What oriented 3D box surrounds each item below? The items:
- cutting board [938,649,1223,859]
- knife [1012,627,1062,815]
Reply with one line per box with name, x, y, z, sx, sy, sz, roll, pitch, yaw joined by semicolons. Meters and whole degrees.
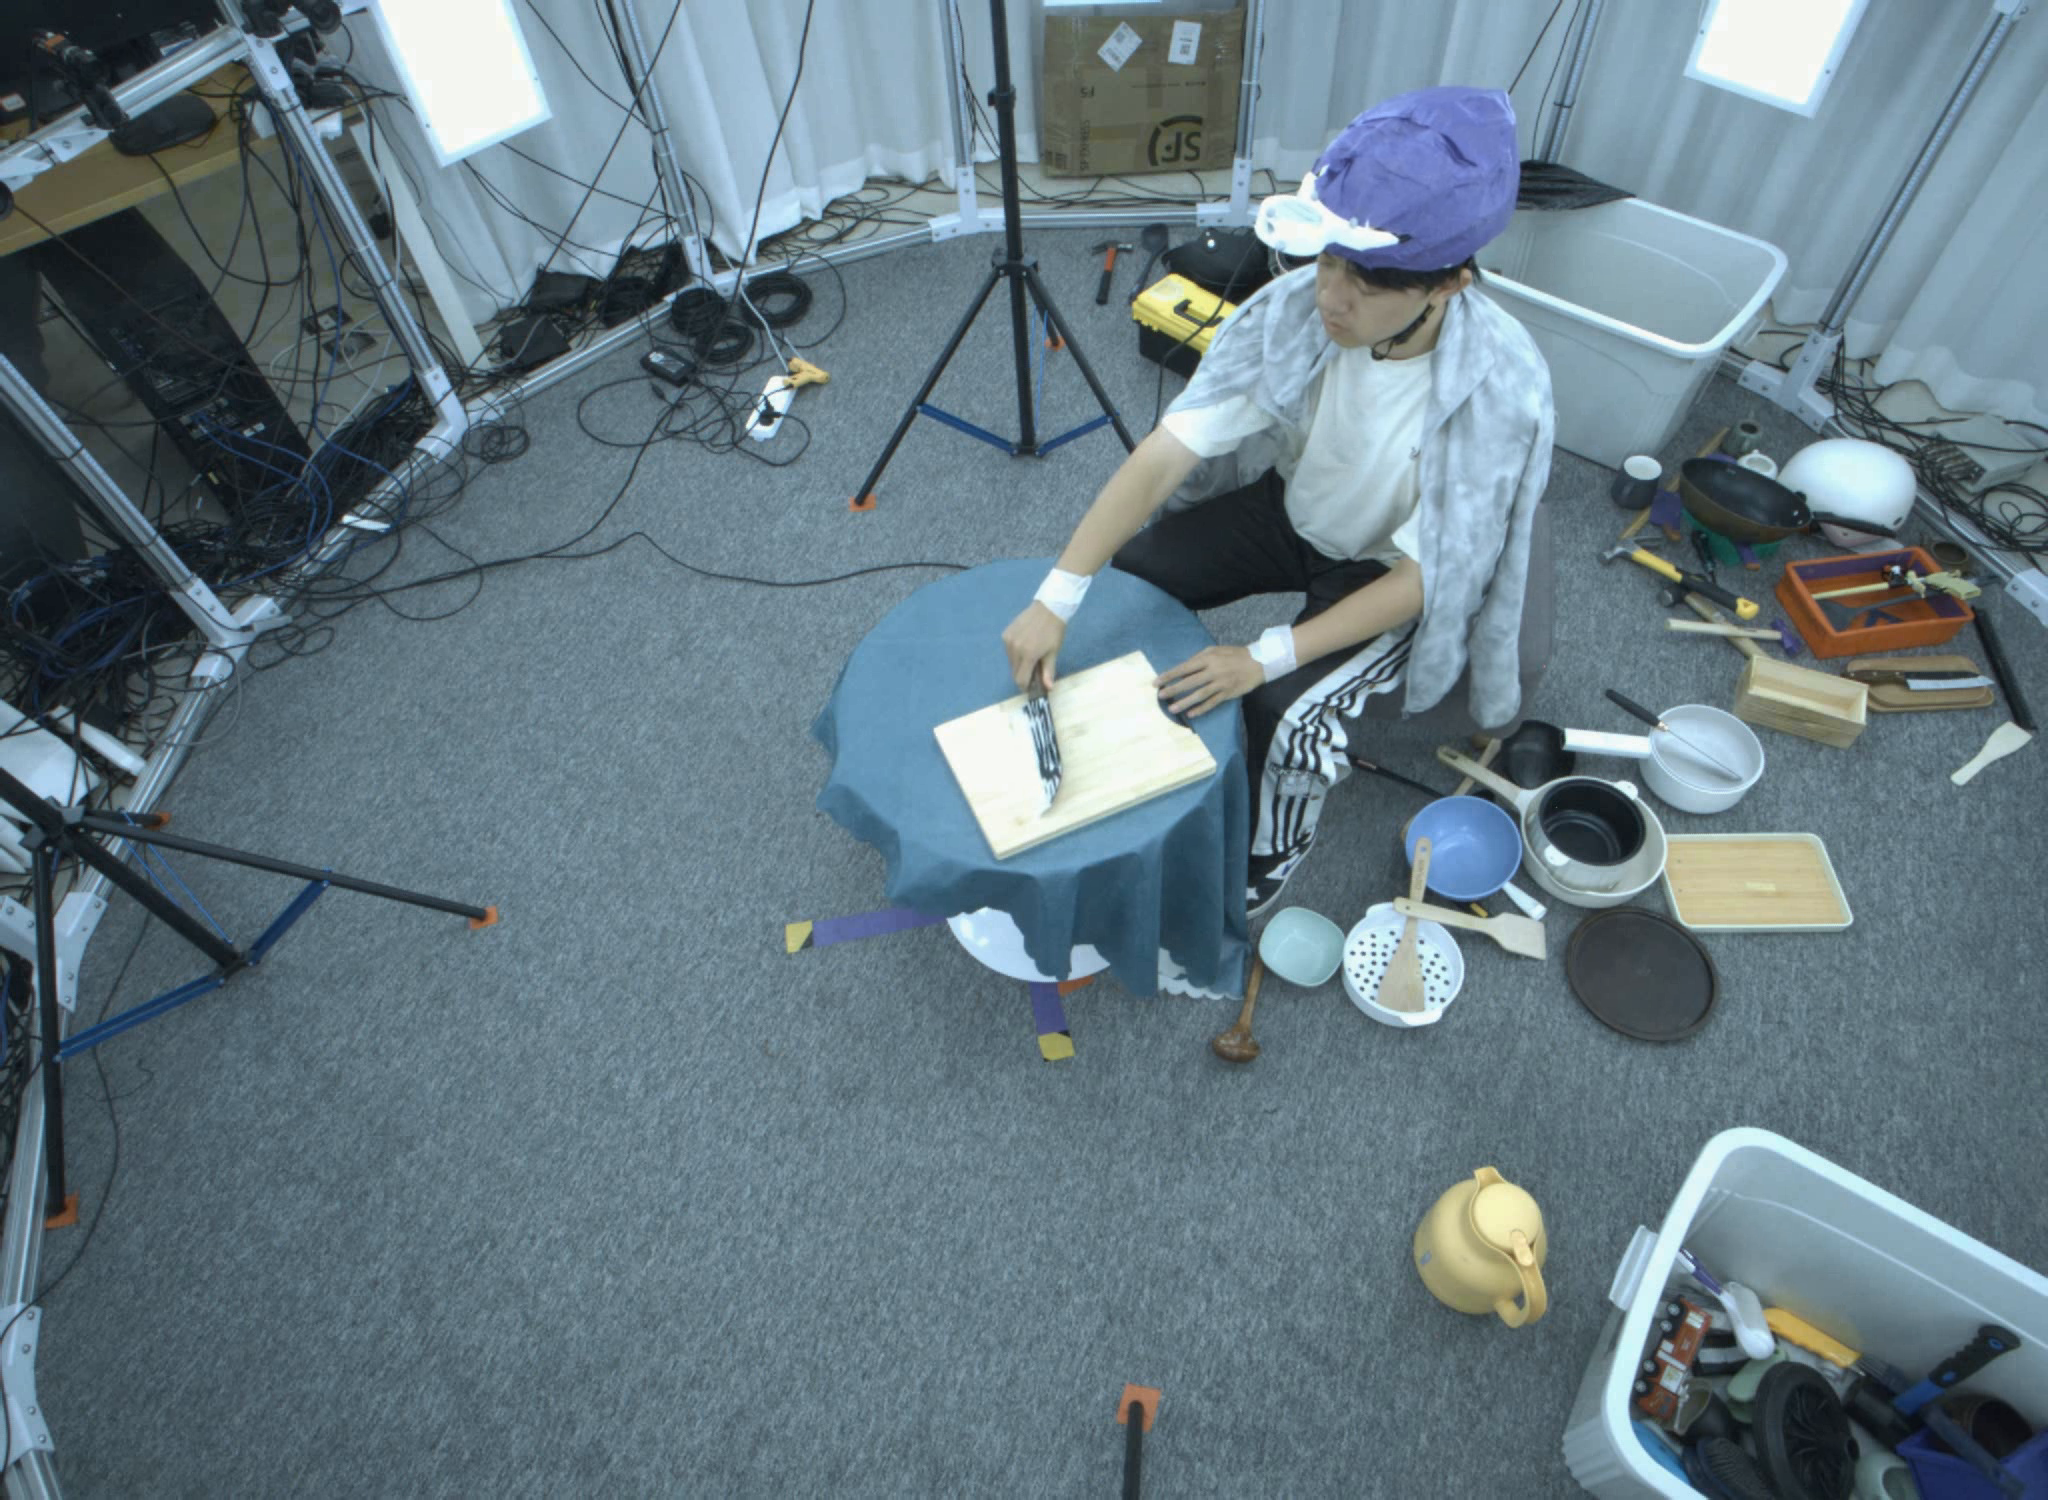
cutting board;0.075;-0.002;1.779;0.351;0.024;0.246;-22;57;-13
knife;0.012;-0.045;1.763;0.067;0.024;0.296;-28;56;29
